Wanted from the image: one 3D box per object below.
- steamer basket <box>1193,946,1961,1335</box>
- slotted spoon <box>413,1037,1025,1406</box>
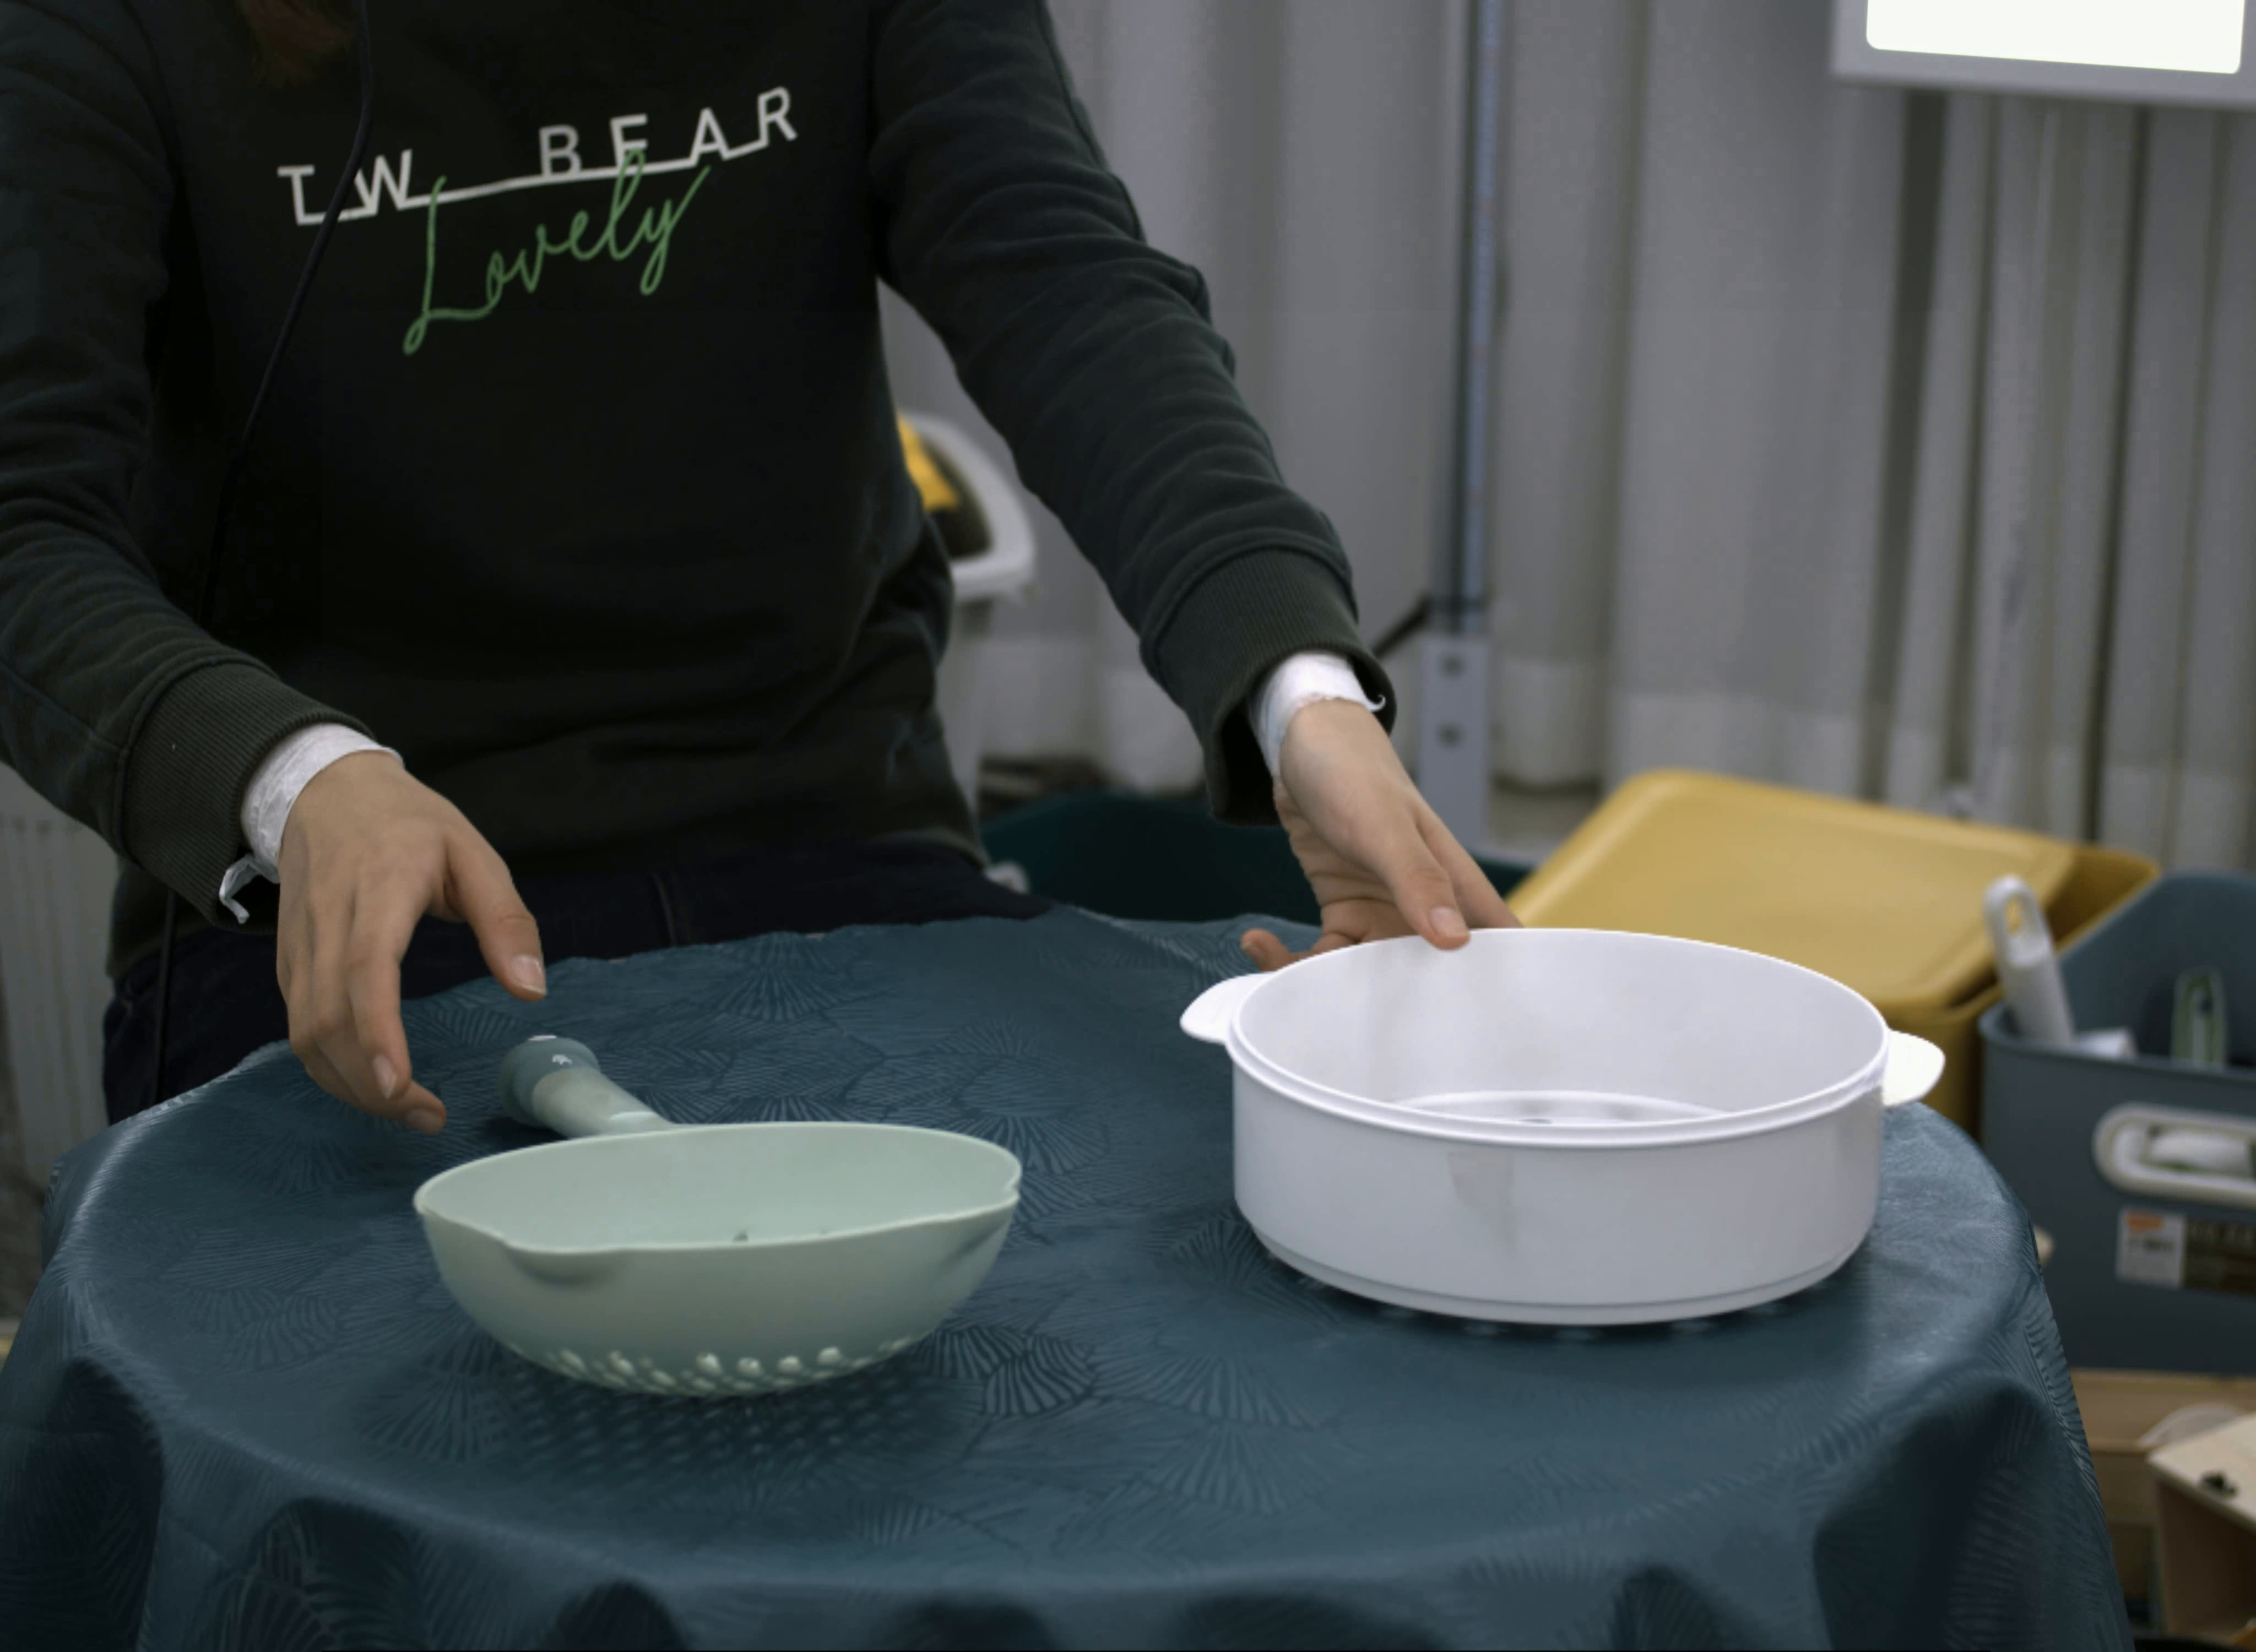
[{"bbox_3d":[0.133,0.094,1.583,0.228,0.070,0.202,5,15,16],"label":"steamer basket"},{"bbox_3d":[-0.141,0.100,1.549,0.170,0.076,0.355,-4,16,-17],"label":"slotted spoon"}]
